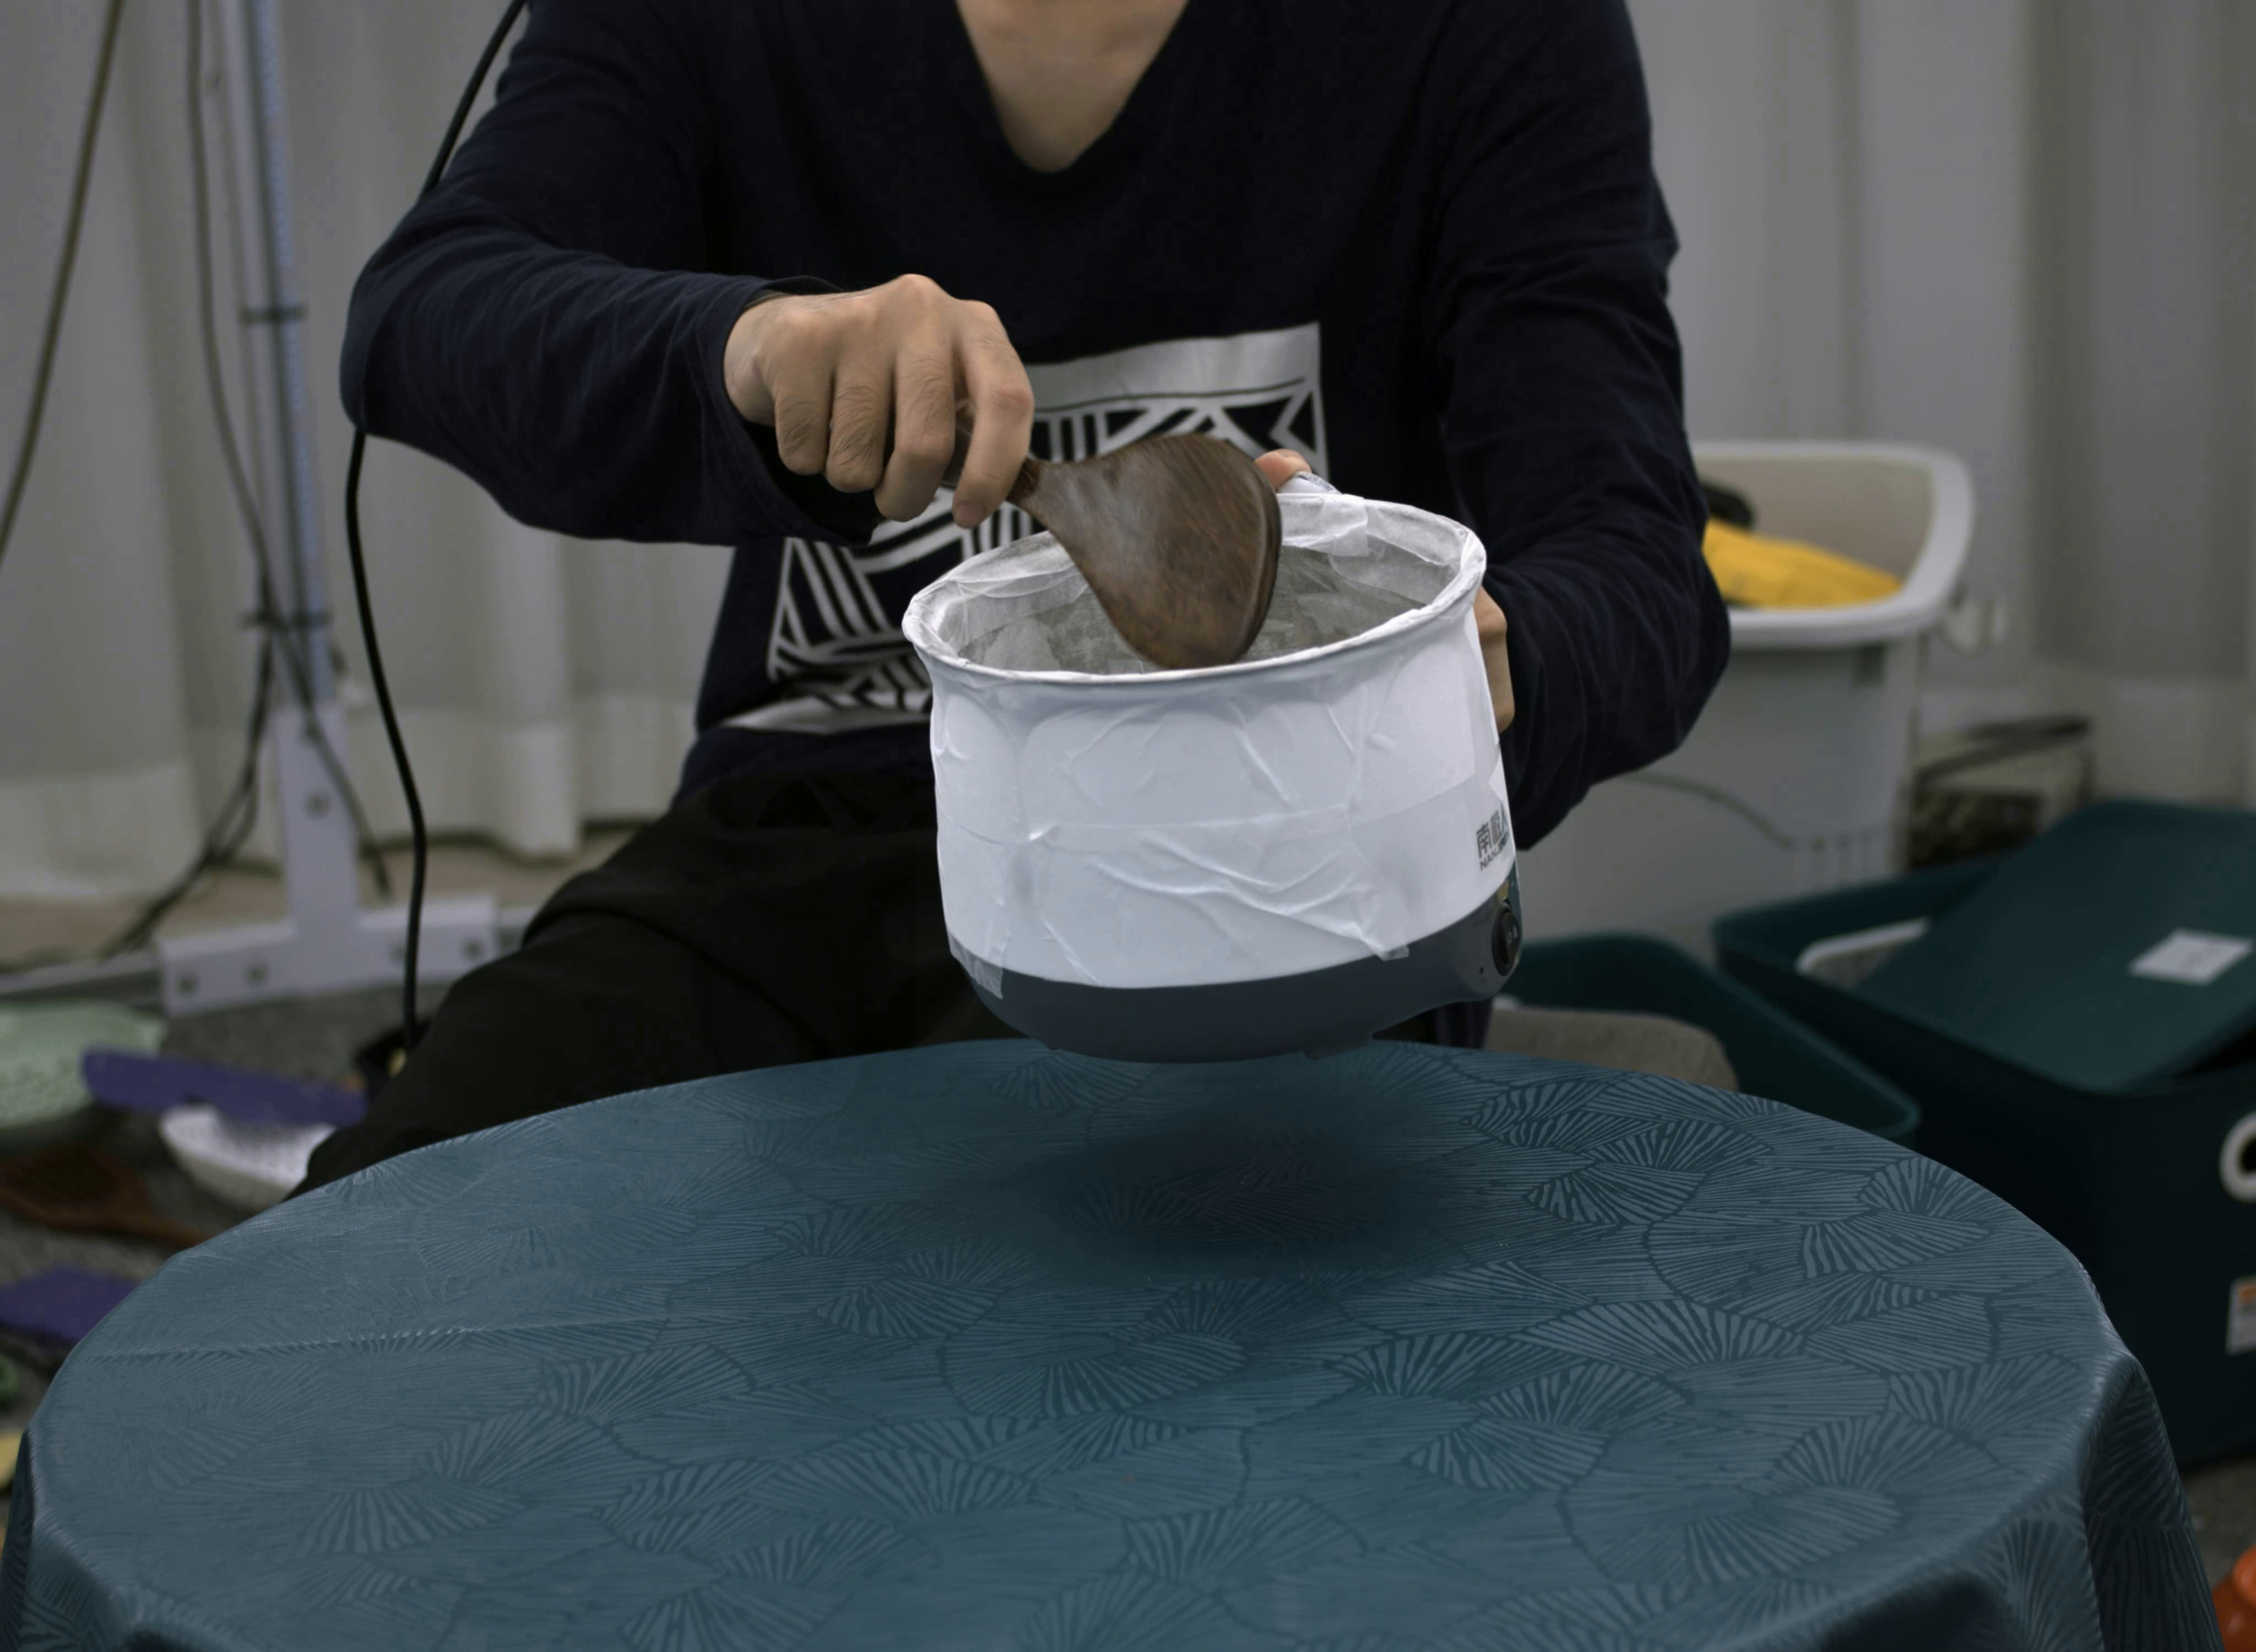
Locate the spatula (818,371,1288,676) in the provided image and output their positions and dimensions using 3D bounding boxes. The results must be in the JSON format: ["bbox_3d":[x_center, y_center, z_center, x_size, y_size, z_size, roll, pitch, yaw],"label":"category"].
[{"bbox_3d":[-0.028,-0.101,1.701,0.217,0.072,0.009,26,13,41],"label":"spatula"}]

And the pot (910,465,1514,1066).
[{"bbox_3d":[0.036,-0.025,1.696,0.179,0.135,0.235,2,22,19],"label":"pot"}]
